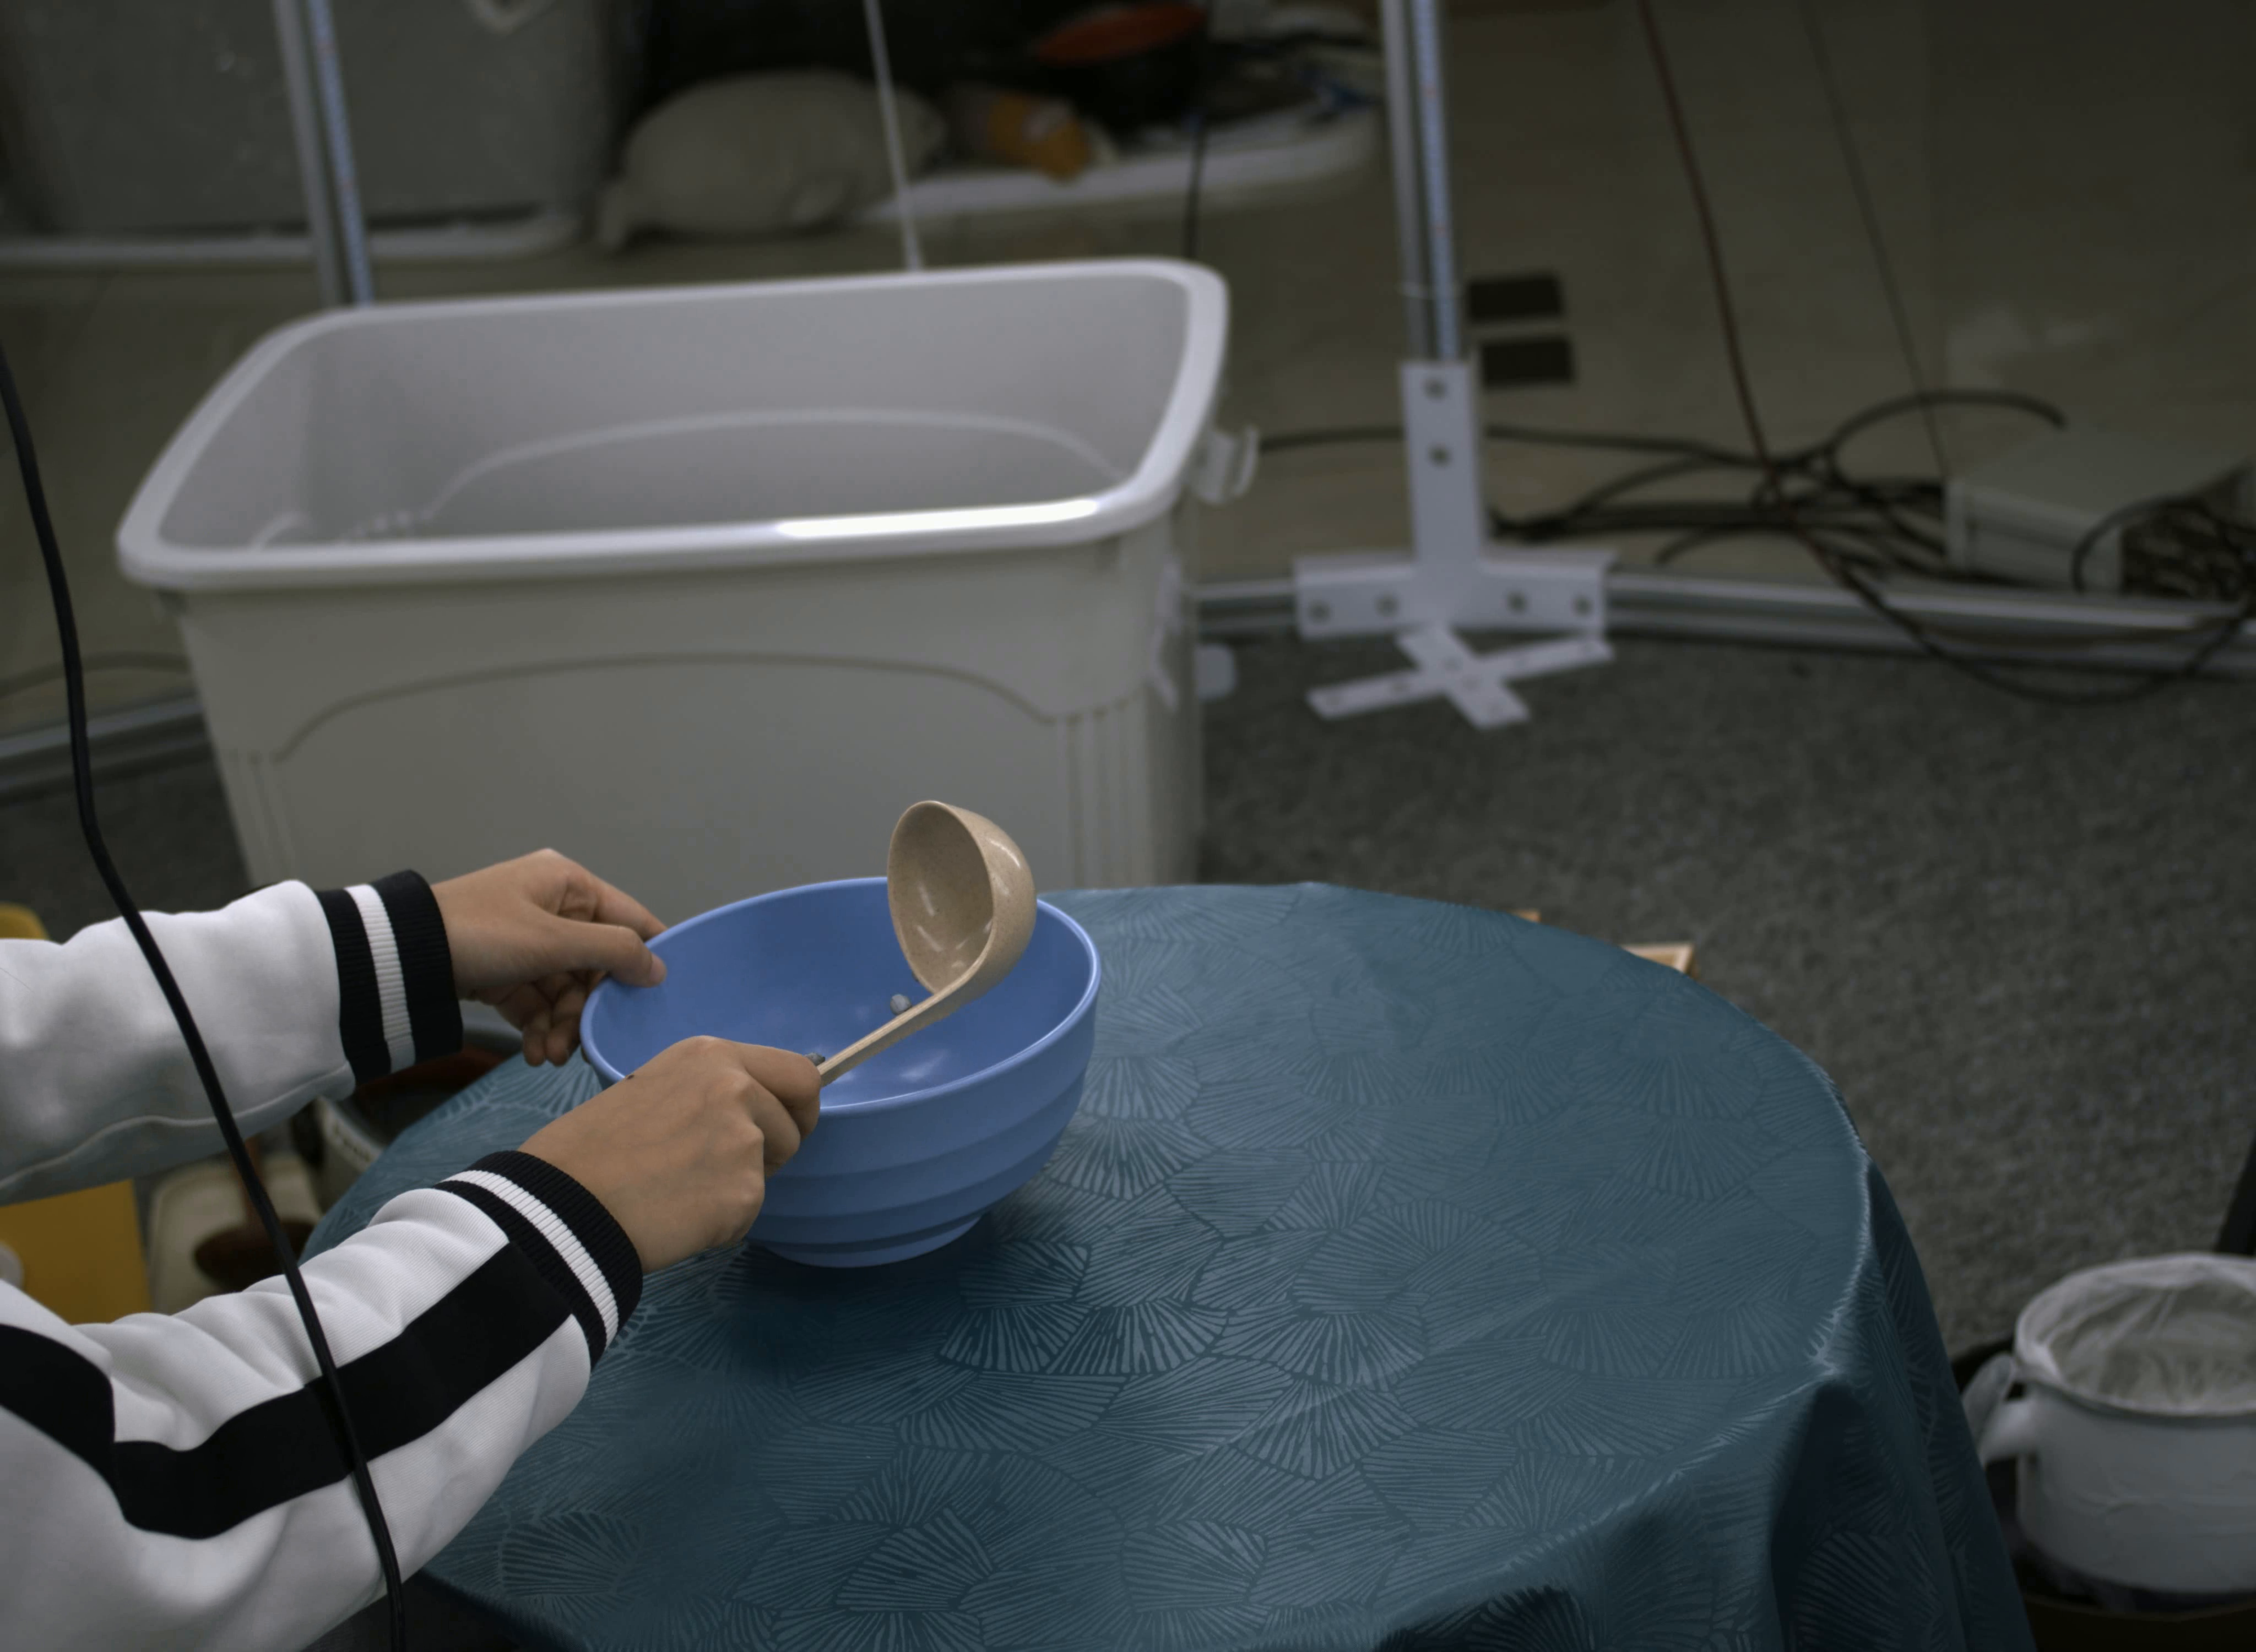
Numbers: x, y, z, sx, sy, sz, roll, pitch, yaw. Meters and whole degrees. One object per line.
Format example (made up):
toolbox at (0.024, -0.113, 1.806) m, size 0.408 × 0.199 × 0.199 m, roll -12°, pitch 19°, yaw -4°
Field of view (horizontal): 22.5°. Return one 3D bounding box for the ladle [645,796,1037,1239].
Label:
ladle at (-0.119, 0.064, 2.006) m, size 0.072 × 0.073 × 0.251 m, roll 46°, pitch 40°, yaw 7°

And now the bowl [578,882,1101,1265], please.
bowl at (-0.104, 0.103, 2.136) m, size 0.196 × 0.097 × 0.194 m, roll -4°, pitch 23°, yaw 2°
